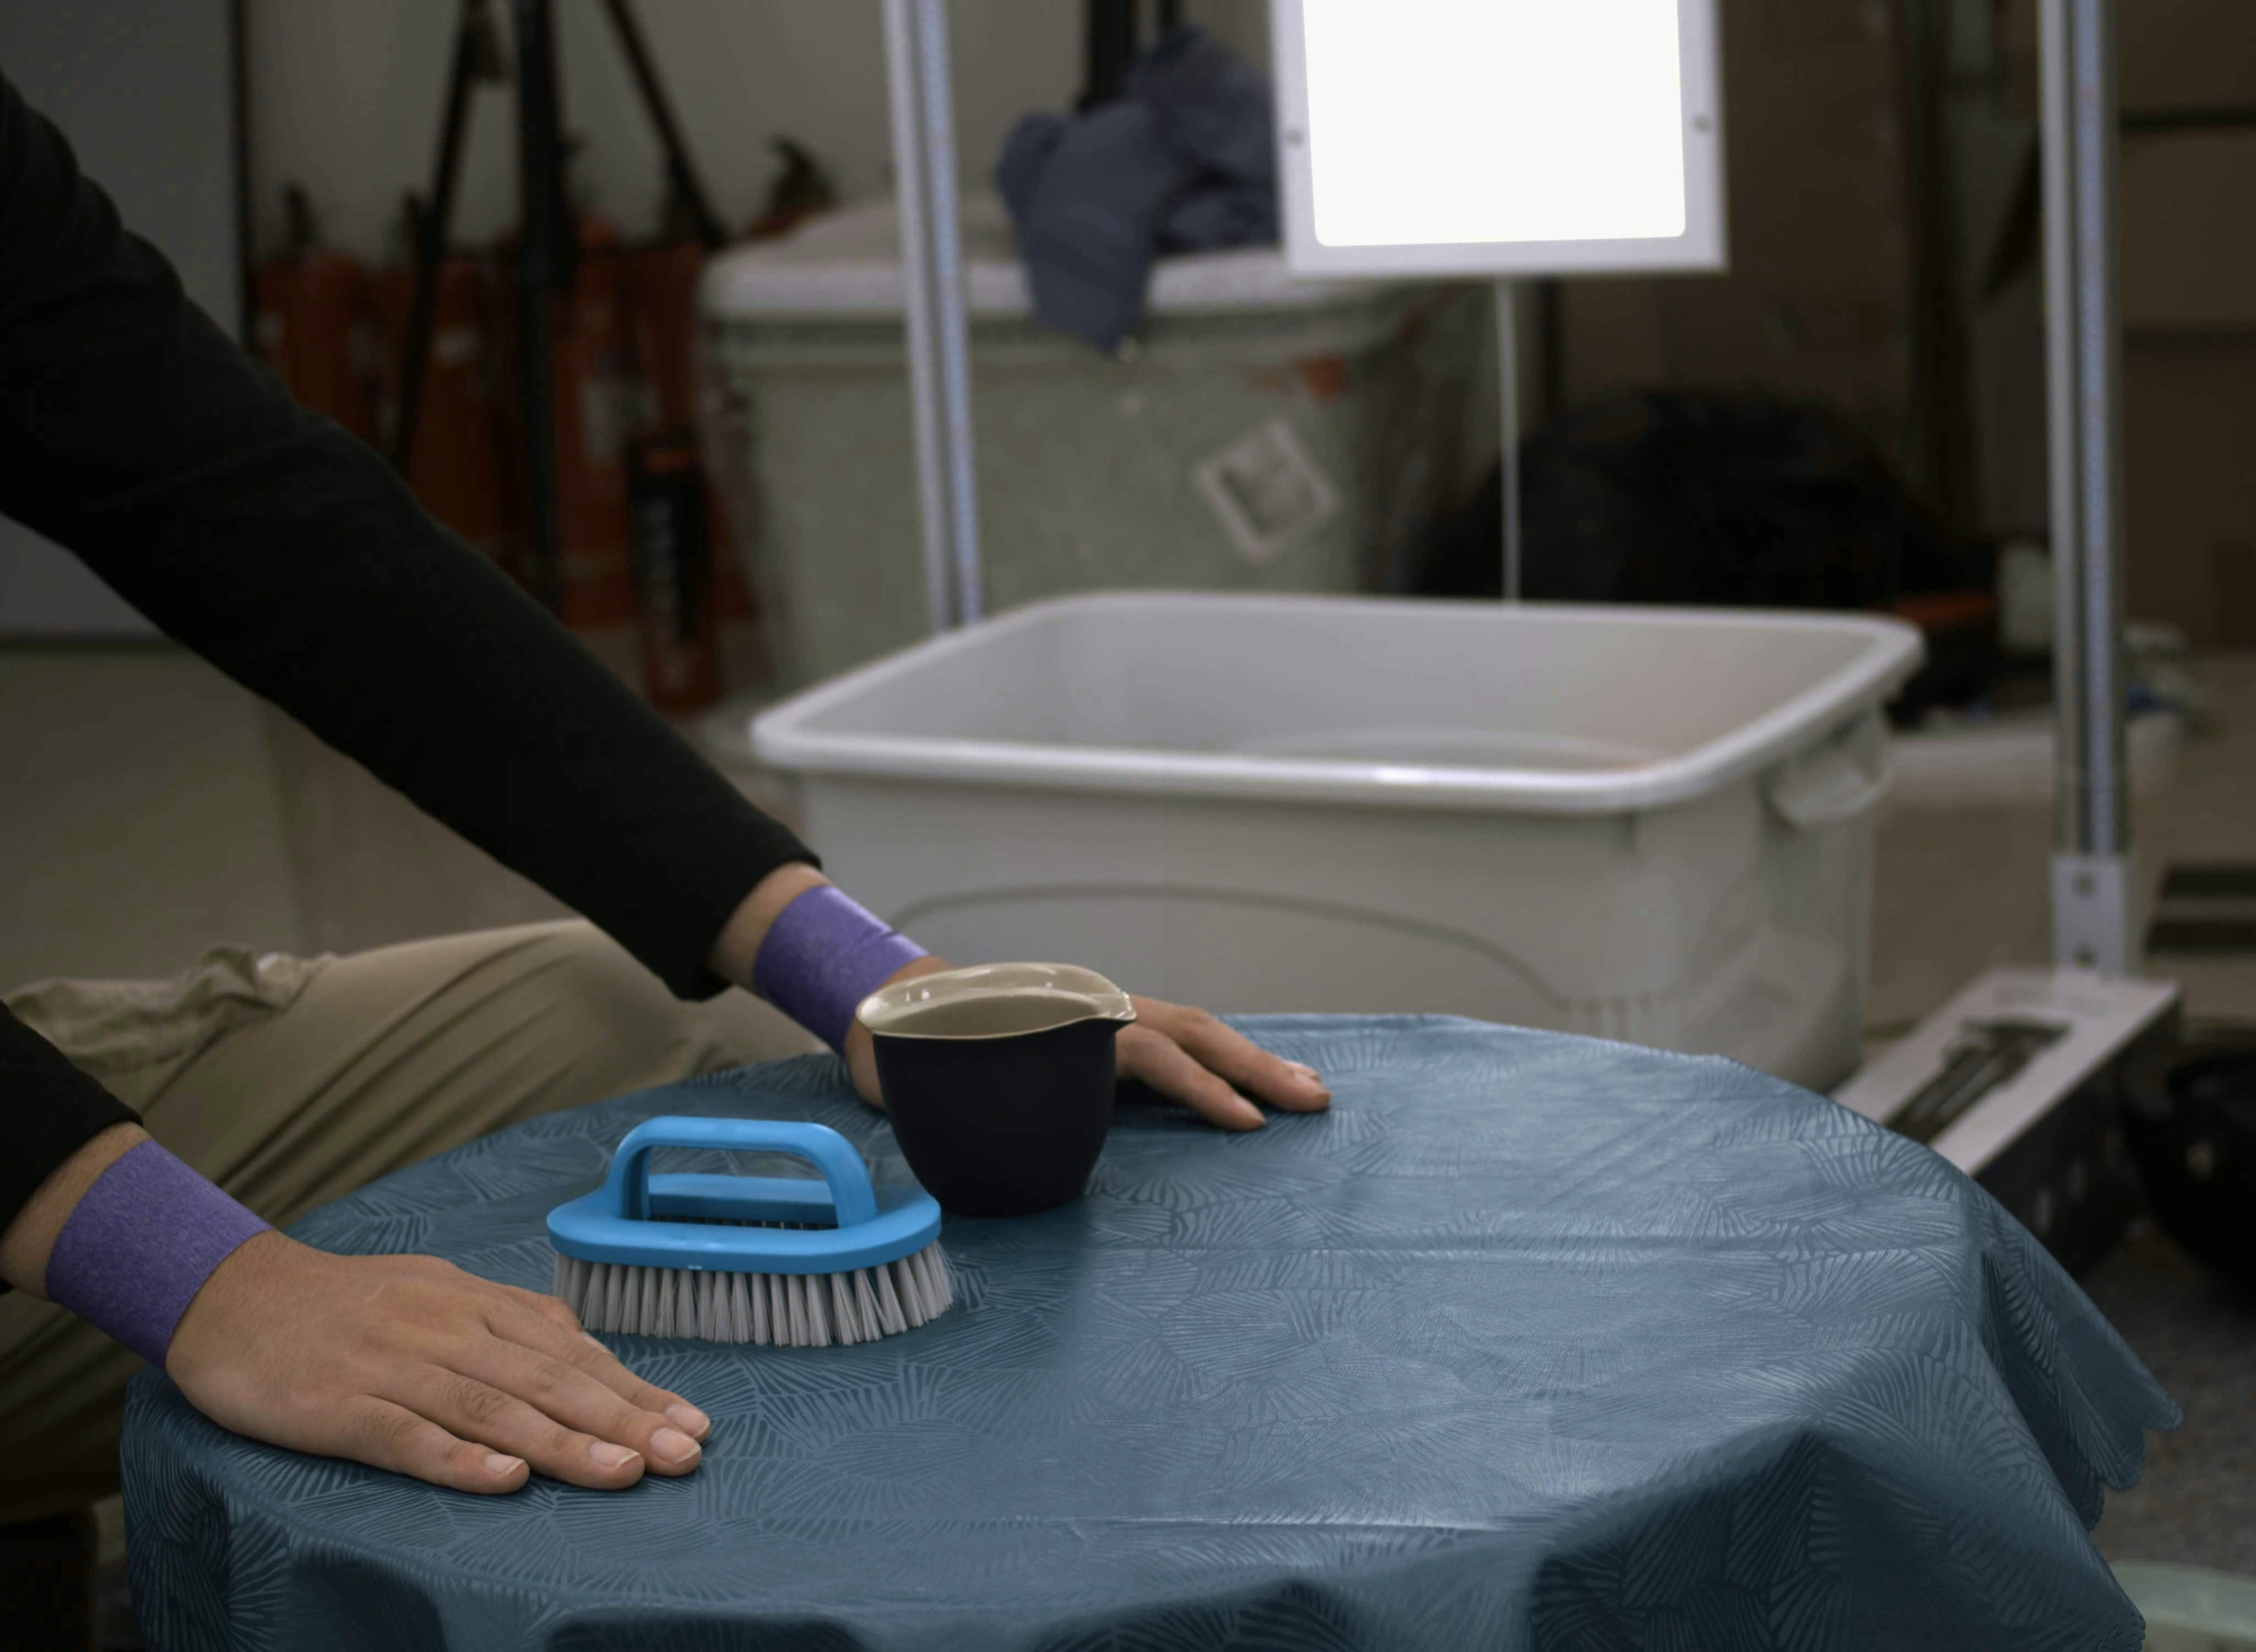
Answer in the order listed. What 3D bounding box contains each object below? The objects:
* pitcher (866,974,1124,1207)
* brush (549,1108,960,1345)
[{"bbox_3d":[-0.042,0.091,1.899,0.098,0.071,0.081,6,16,33],"label":"pitcher"},{"bbox_3d":[-0.127,0.125,1.811,0.144,0.064,0.082,1,19,26],"label":"brush"}]
